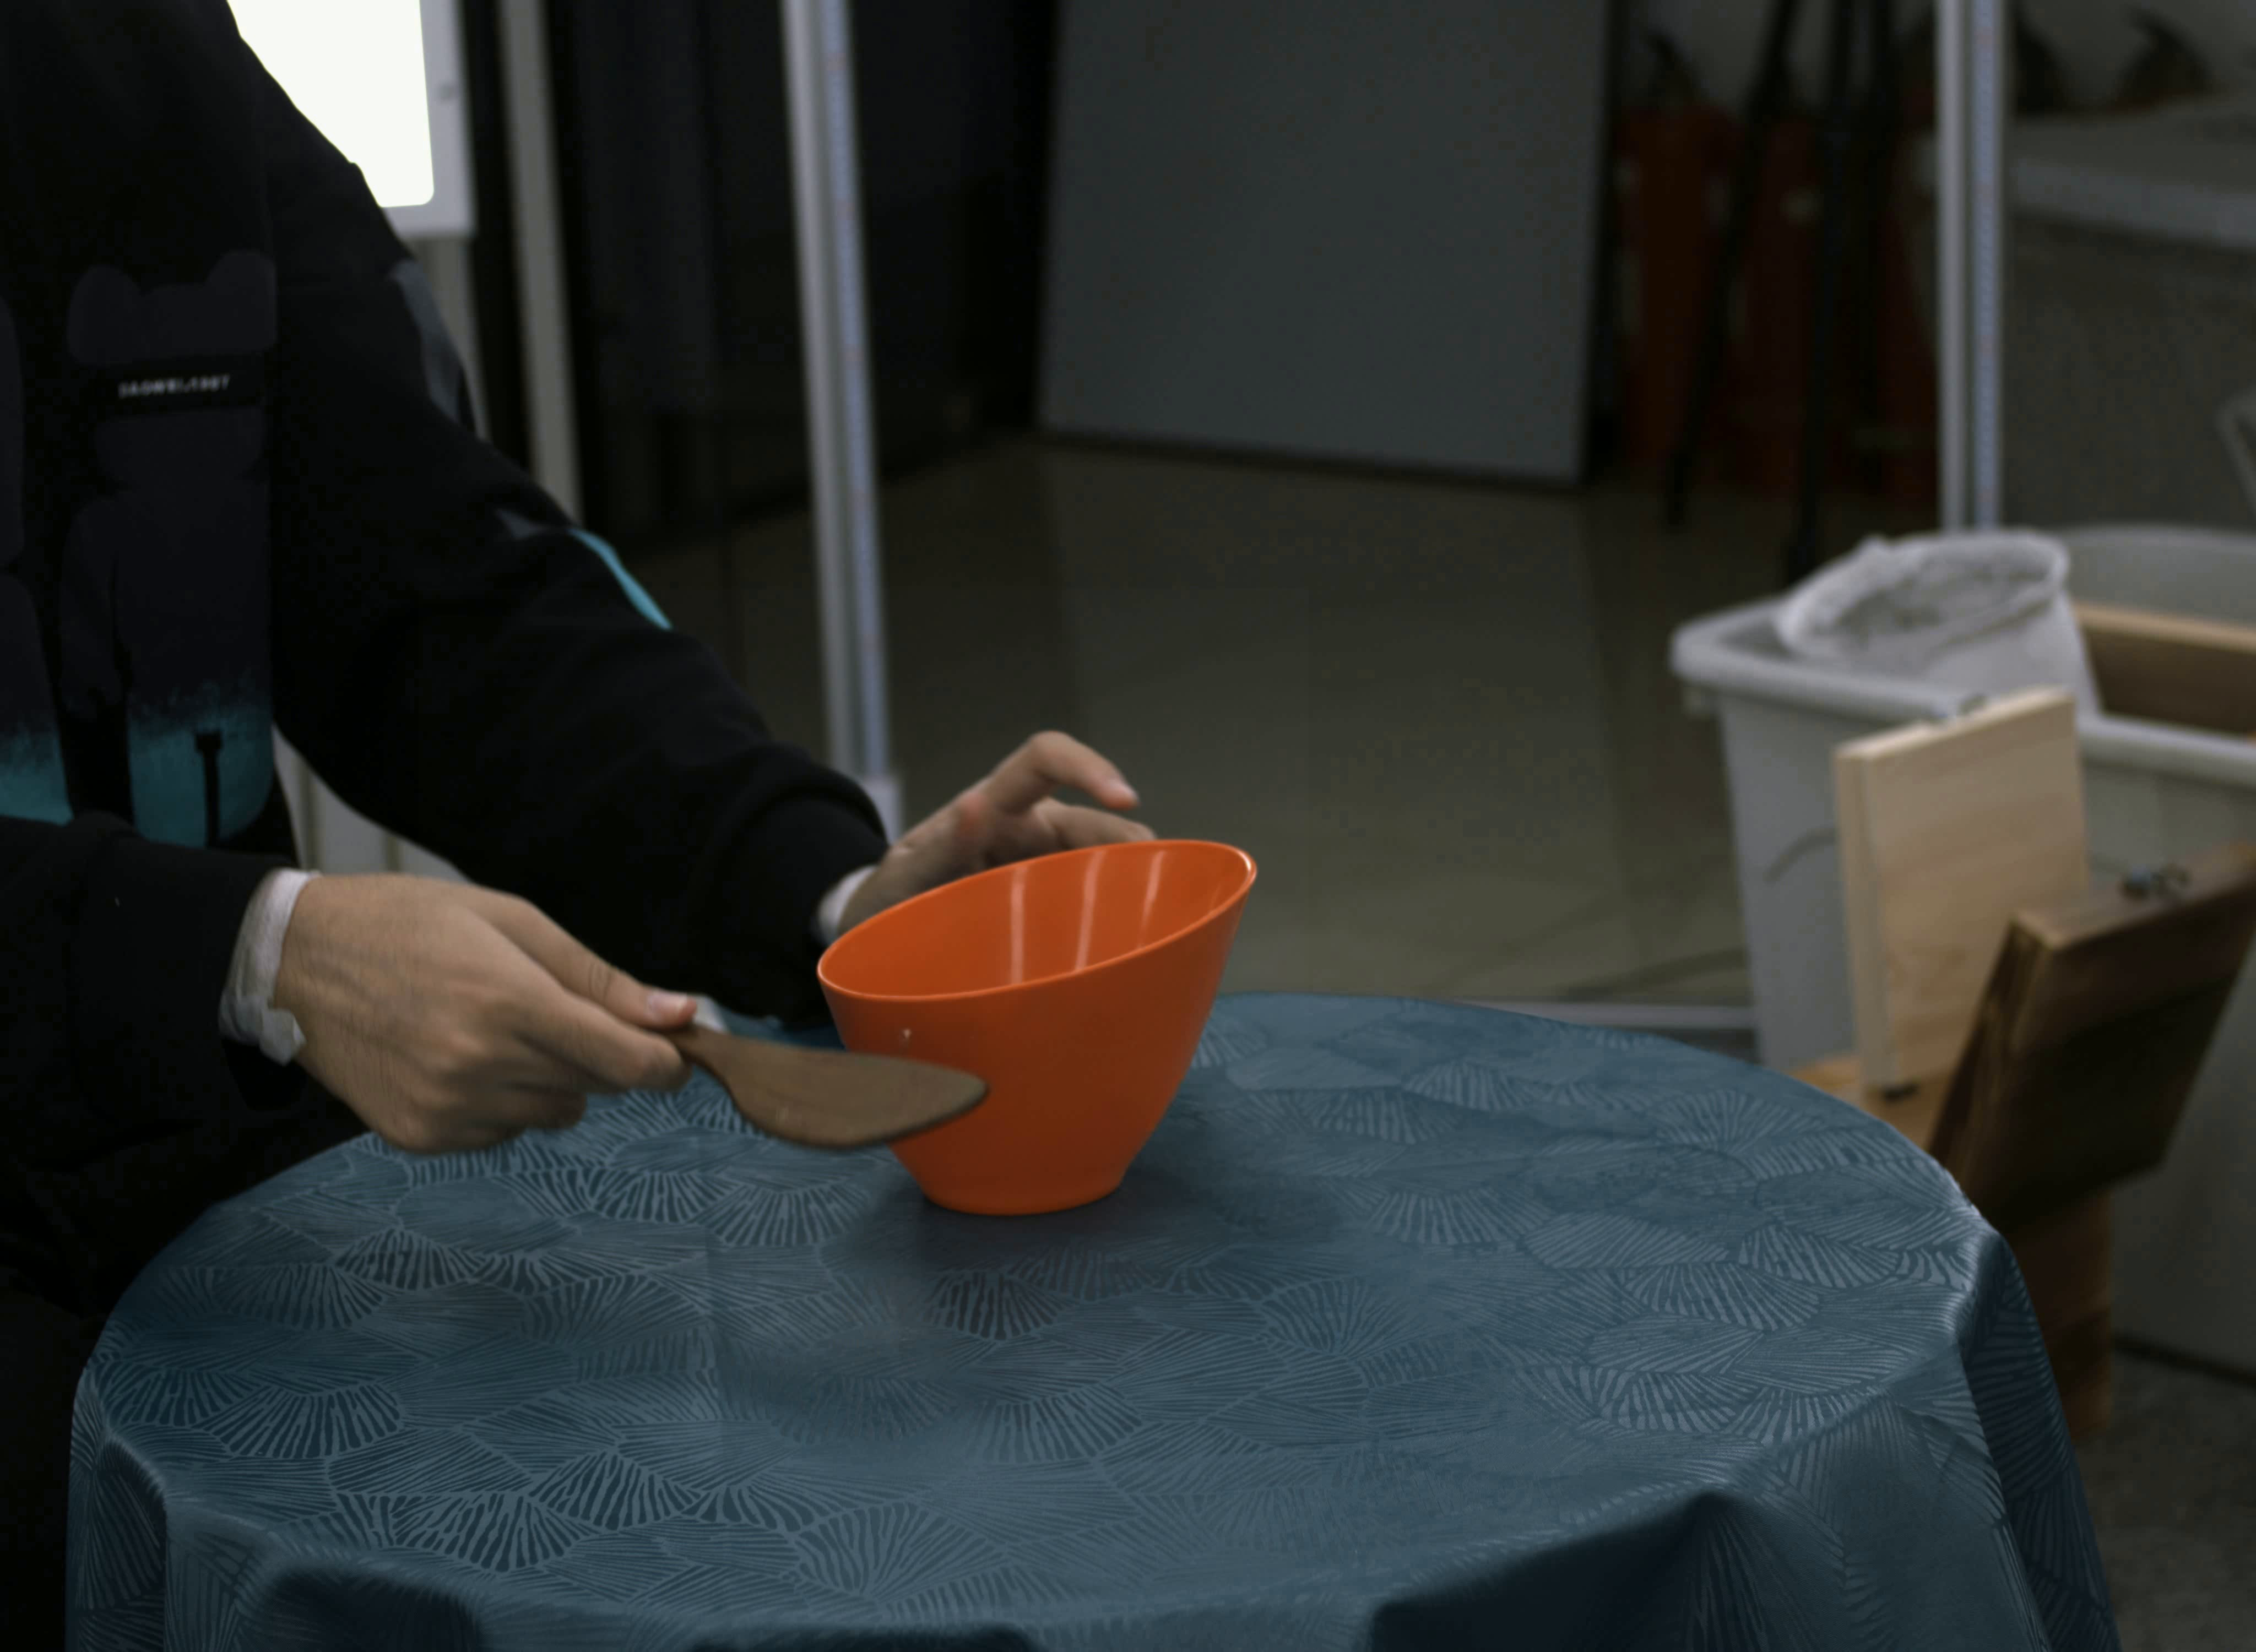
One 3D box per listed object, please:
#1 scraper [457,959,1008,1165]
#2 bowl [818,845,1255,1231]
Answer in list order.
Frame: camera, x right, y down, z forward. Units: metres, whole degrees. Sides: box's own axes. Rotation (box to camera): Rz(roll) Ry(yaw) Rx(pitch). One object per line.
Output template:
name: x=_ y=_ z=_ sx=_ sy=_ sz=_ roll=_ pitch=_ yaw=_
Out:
scraper: x=-0.131 y=0.070 z=1.673 sx=0.213 sy=0.011 sz=0.074 roll=17 pitch=25 yaw=40
bowl: x=-0.026 y=0.072 z=1.772 sx=0.146 sy=0.106 sz=0.148 roll=-6 pitch=14 yaw=1
